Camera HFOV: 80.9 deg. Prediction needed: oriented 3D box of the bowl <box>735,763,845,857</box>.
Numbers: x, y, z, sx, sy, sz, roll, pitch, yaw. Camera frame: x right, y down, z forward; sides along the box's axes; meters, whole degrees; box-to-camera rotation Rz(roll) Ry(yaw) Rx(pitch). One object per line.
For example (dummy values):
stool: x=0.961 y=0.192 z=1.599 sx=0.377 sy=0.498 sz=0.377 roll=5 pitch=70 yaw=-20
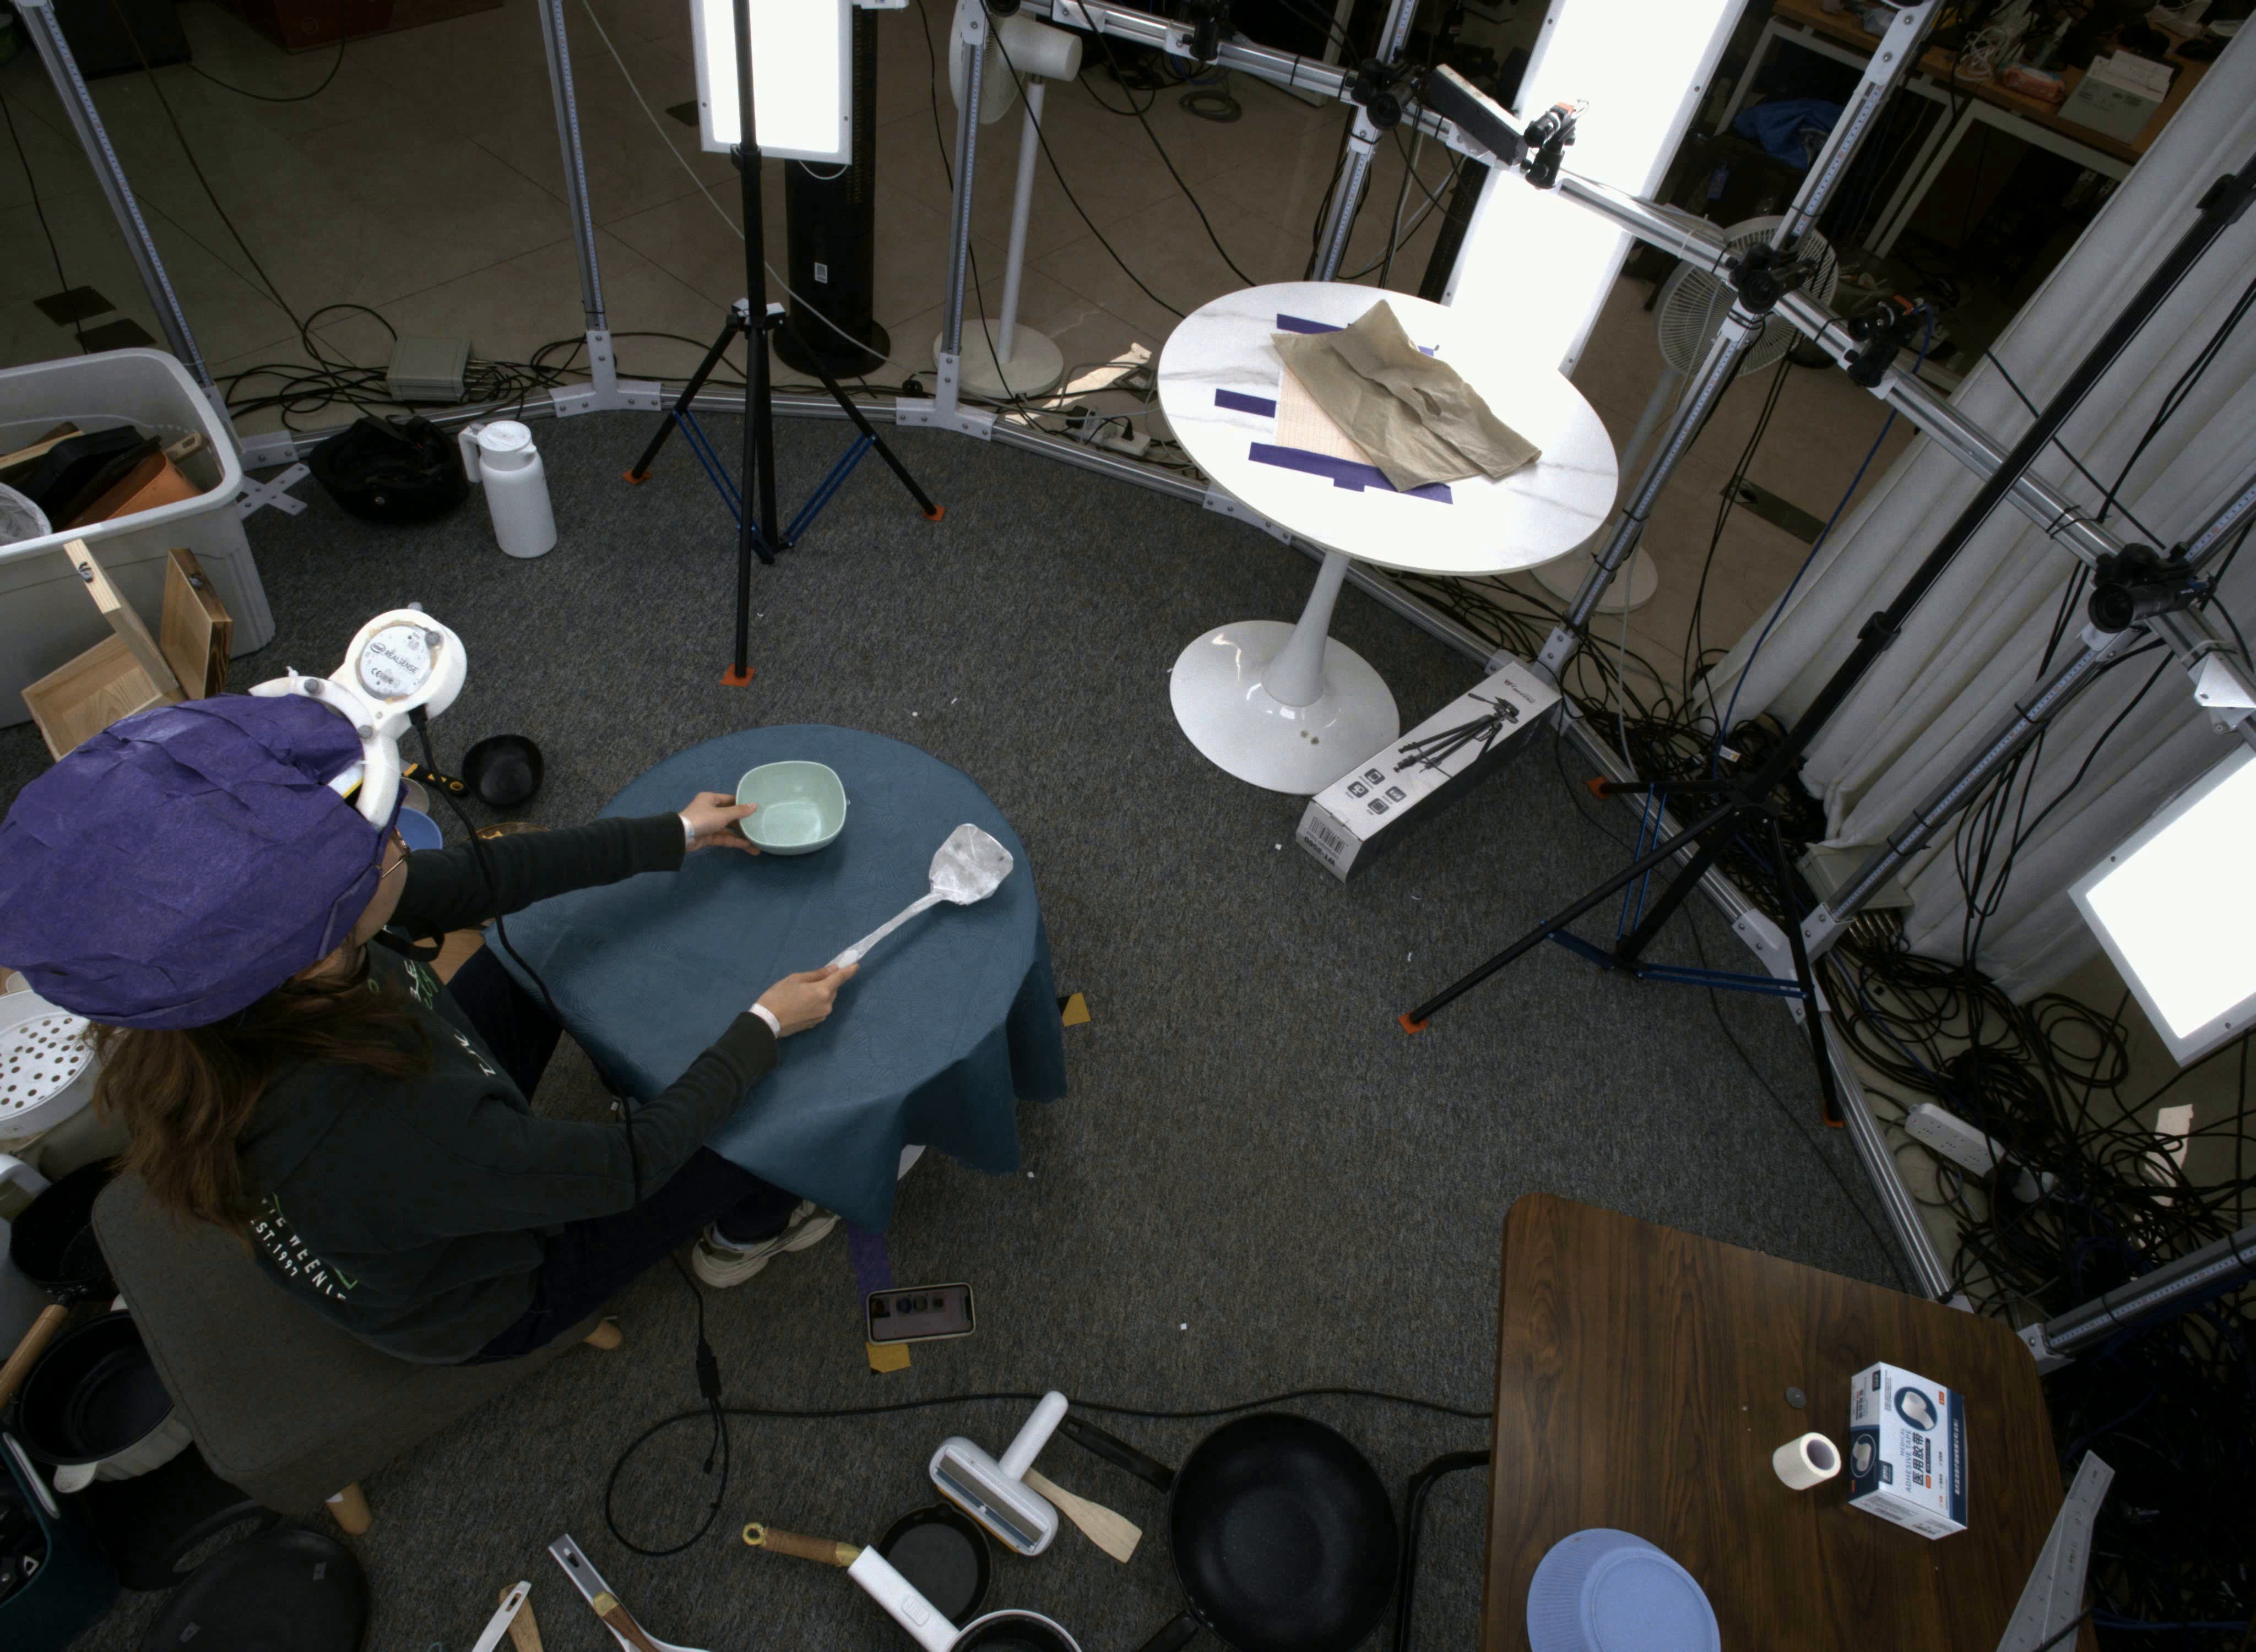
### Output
bowl: x=-0.439 y=-0.013 z=1.691 sx=0.151 sy=0.060 sz=0.148 roll=8 pitch=50 yaw=-8

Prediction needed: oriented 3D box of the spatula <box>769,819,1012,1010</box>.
spatula: x=-0.297 y=0.115 z=1.622 sx=0.097 sy=0.045 sz=0.365 roll=41 pitch=54 yaw=15
